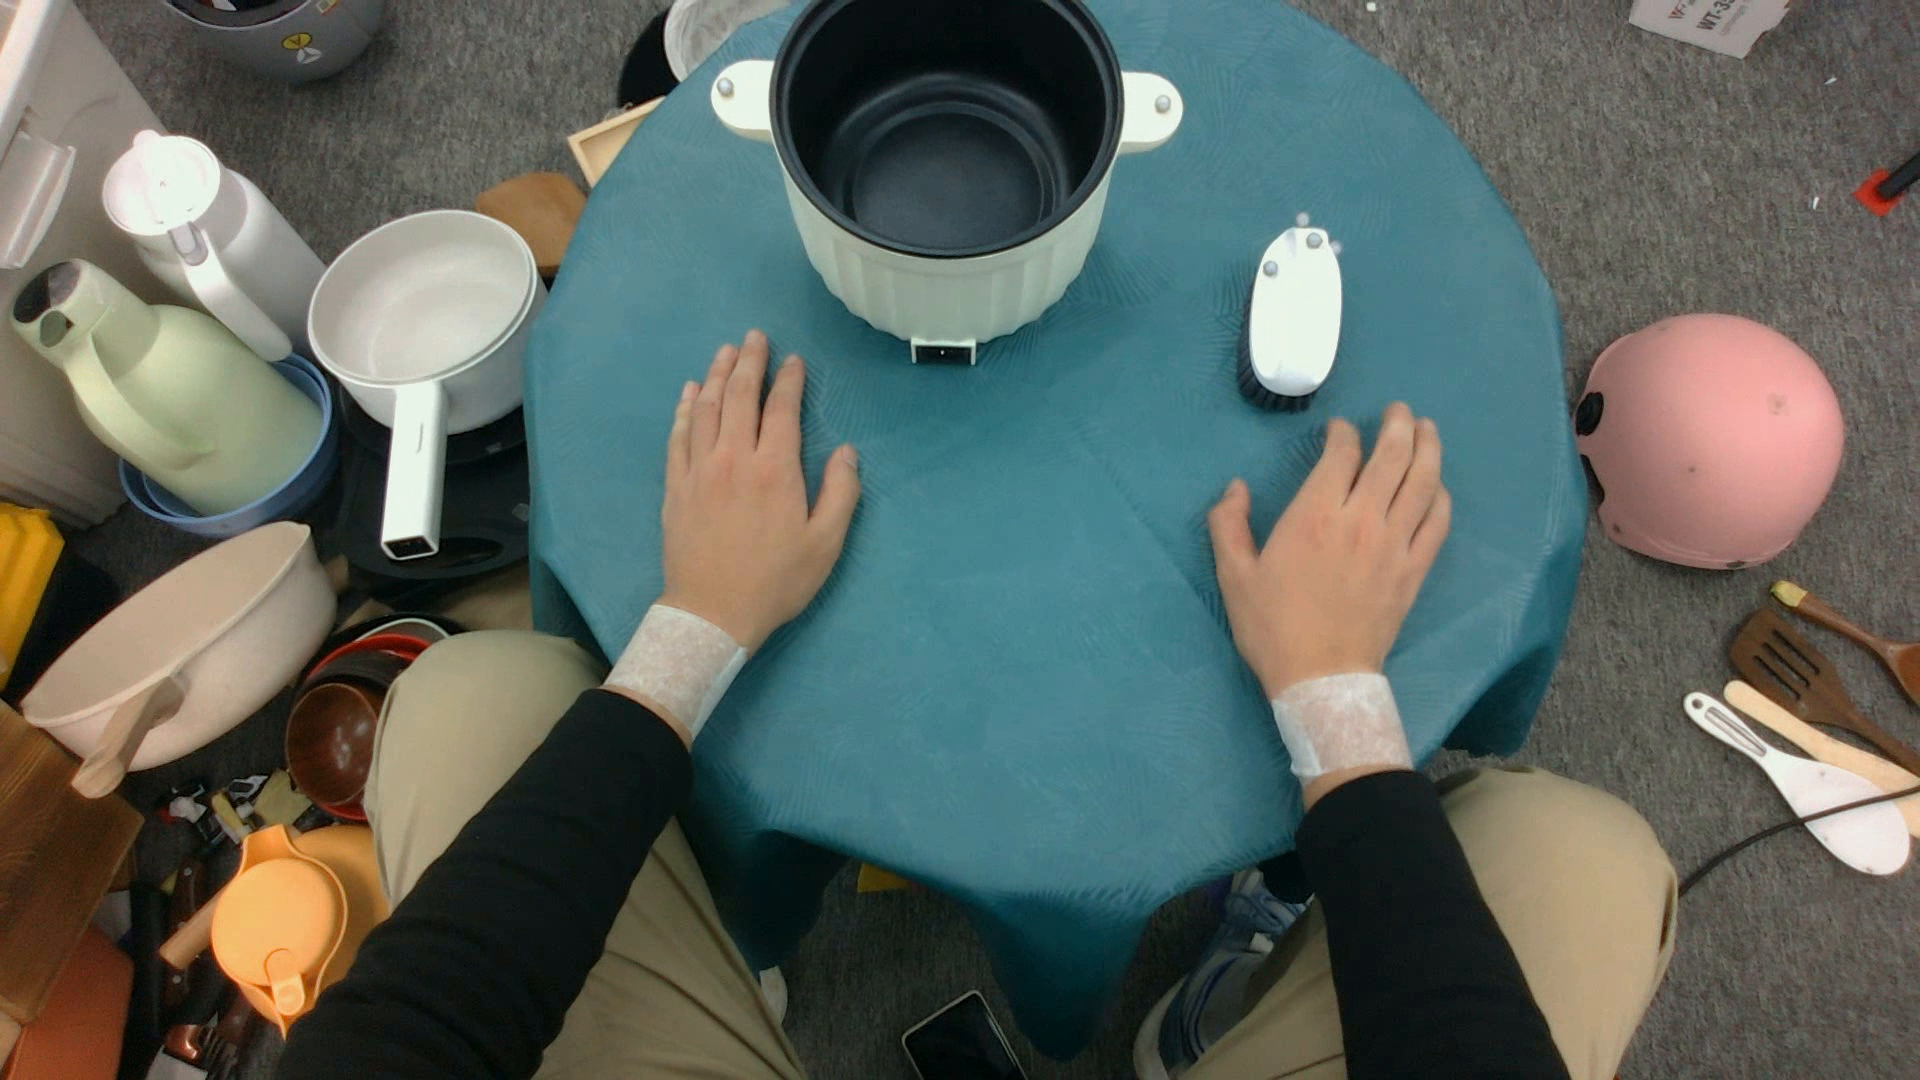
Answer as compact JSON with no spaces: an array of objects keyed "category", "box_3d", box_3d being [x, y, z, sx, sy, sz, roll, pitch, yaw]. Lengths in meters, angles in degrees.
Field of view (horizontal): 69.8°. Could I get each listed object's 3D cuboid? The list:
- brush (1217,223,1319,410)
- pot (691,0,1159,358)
[{"category":"brush","box_3d":[0.179,-0.133,0.780,0.050,0.072,0.099,10,72,1]},{"category":"pot","box_3d":[-0.020,-0.212,0.767,0.240,0.142,0.191,1,74,-2]}]
